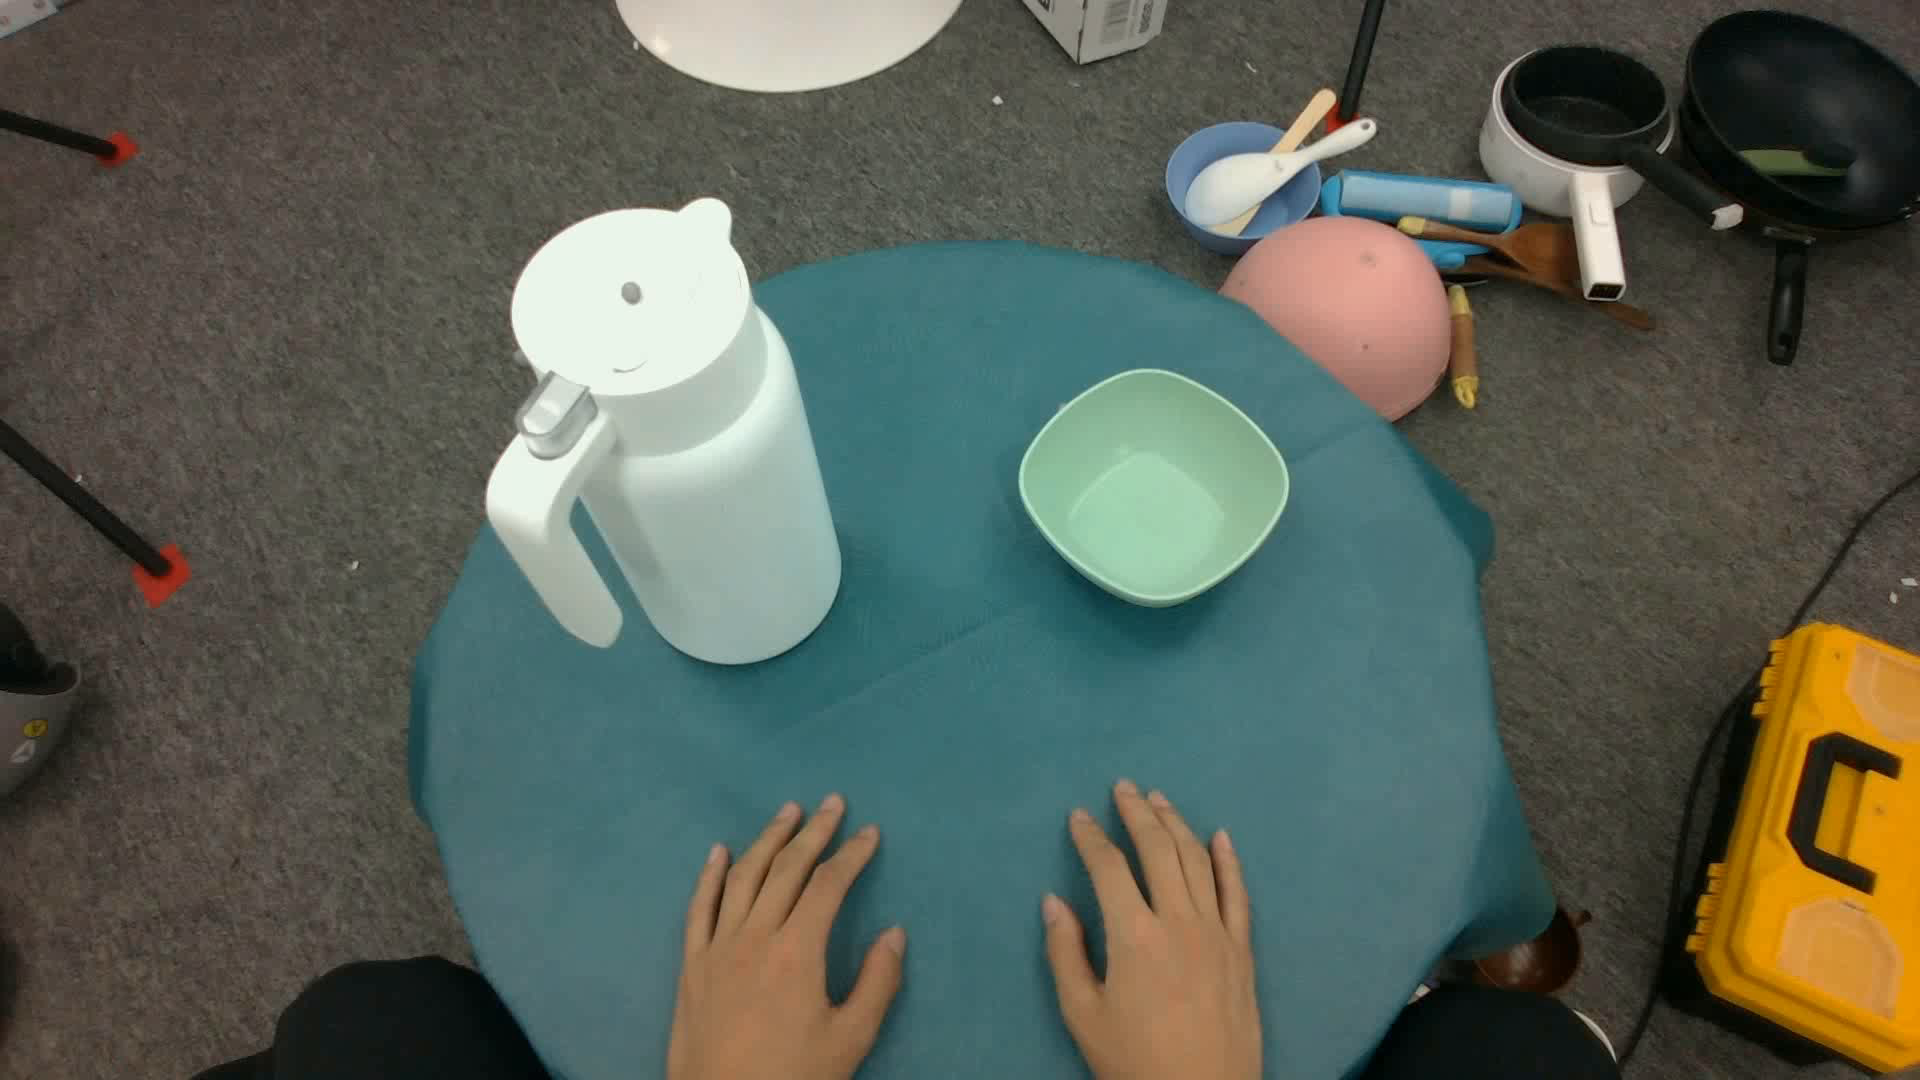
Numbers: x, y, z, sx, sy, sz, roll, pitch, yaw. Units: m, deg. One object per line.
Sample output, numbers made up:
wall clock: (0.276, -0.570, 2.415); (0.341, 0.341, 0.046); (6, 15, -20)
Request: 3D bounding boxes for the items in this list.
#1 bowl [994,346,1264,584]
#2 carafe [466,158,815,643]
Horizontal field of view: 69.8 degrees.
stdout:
bowl: (0.095, -0.035, 0.795); (0.151, 0.058, 0.152); (0, 62, 1)
carafe: (-0.151, -0.037, 0.680); (0.124, 0.268, 0.173); (22, 65, 10)
